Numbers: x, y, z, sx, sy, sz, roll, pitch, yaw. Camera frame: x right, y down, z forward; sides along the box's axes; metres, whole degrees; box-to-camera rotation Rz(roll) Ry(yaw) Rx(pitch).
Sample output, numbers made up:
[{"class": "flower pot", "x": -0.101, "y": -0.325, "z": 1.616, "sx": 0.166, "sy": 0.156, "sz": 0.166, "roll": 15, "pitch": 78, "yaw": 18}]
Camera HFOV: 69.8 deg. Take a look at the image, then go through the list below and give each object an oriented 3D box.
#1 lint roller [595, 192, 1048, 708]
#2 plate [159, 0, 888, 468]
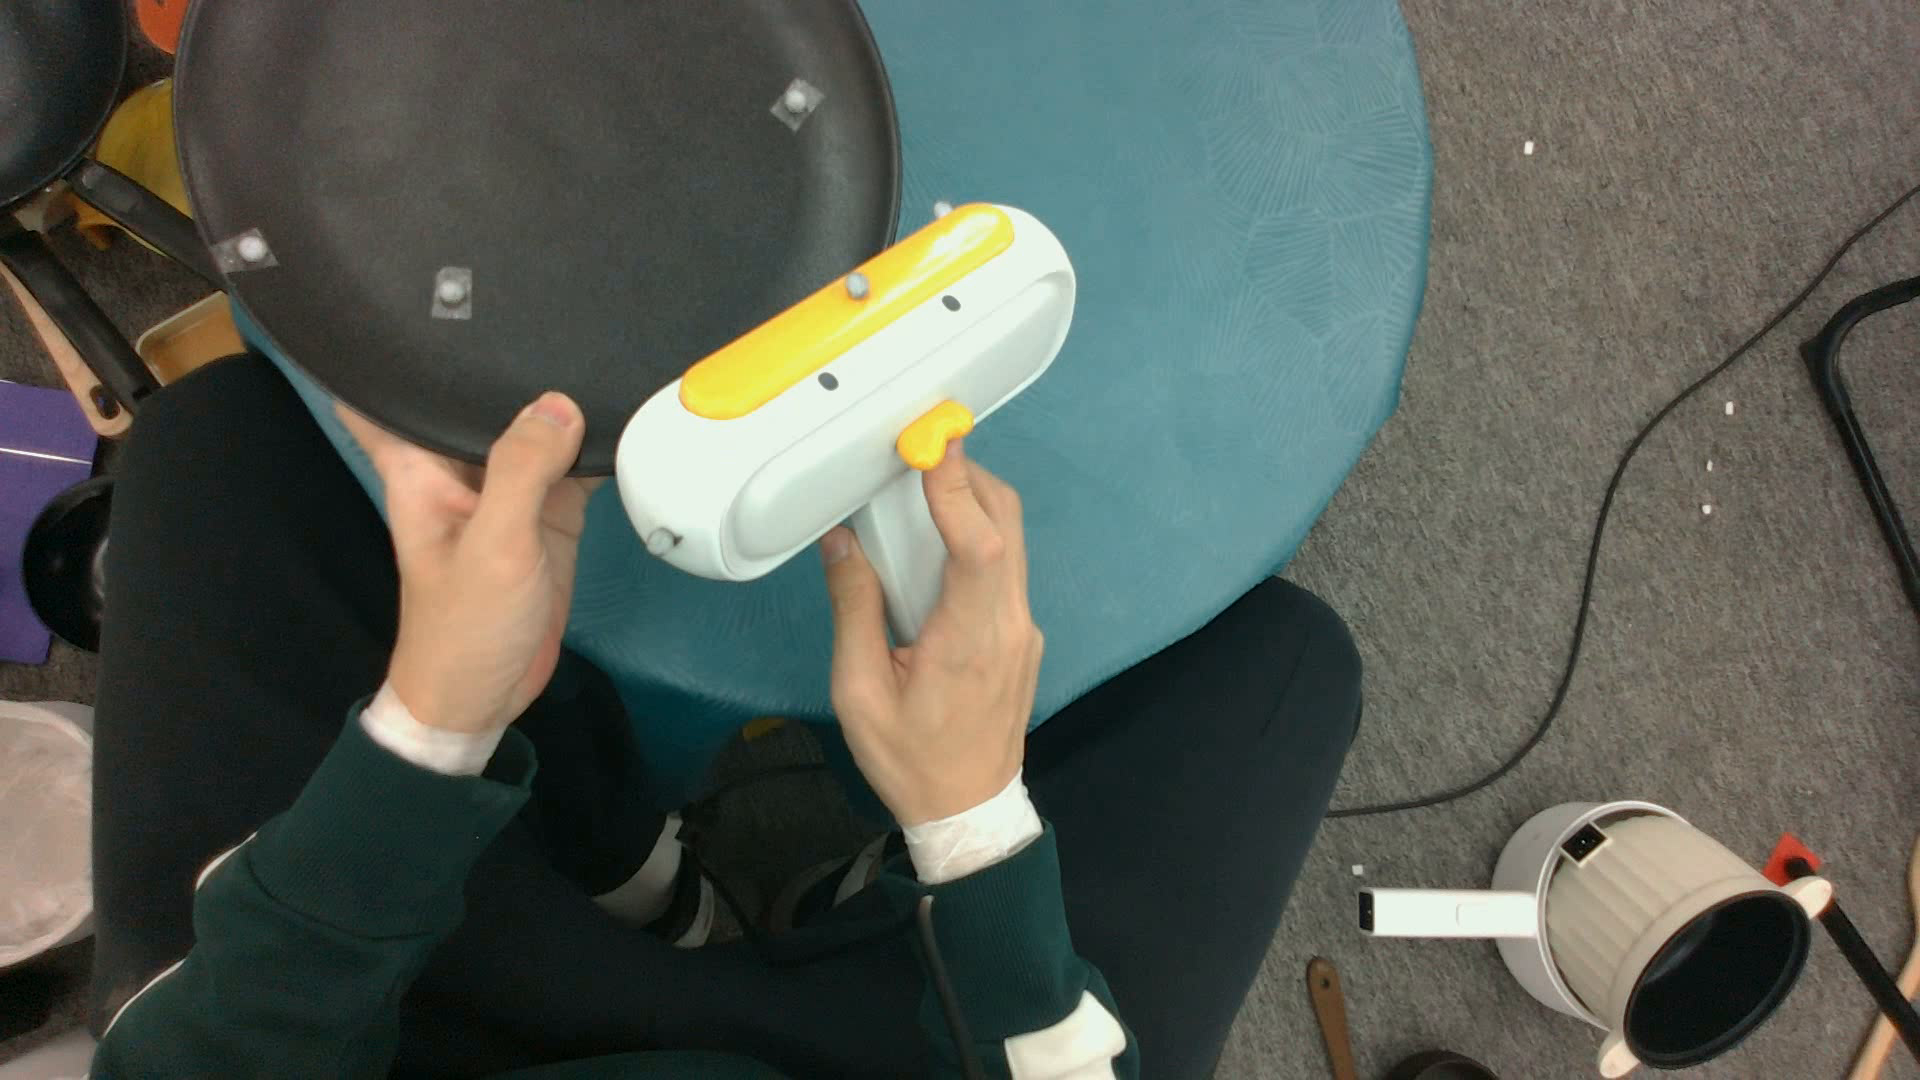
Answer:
[{"class": "lint roller", "x": -0.031, "y": -0.012, "z": 0.520, "sx": 0.074, "sy": 0.191, "sz": 0.194, "roll": 25, "pitch": 54, "yaw": 28}, {"class": "plate", "x": -0.145, "y": -0.145, "z": 0.490, "sx": 0.245, "sy": 0.023, "sz": 0.244, "roll": 2, "pitch": 84, "yaw": -19}]
